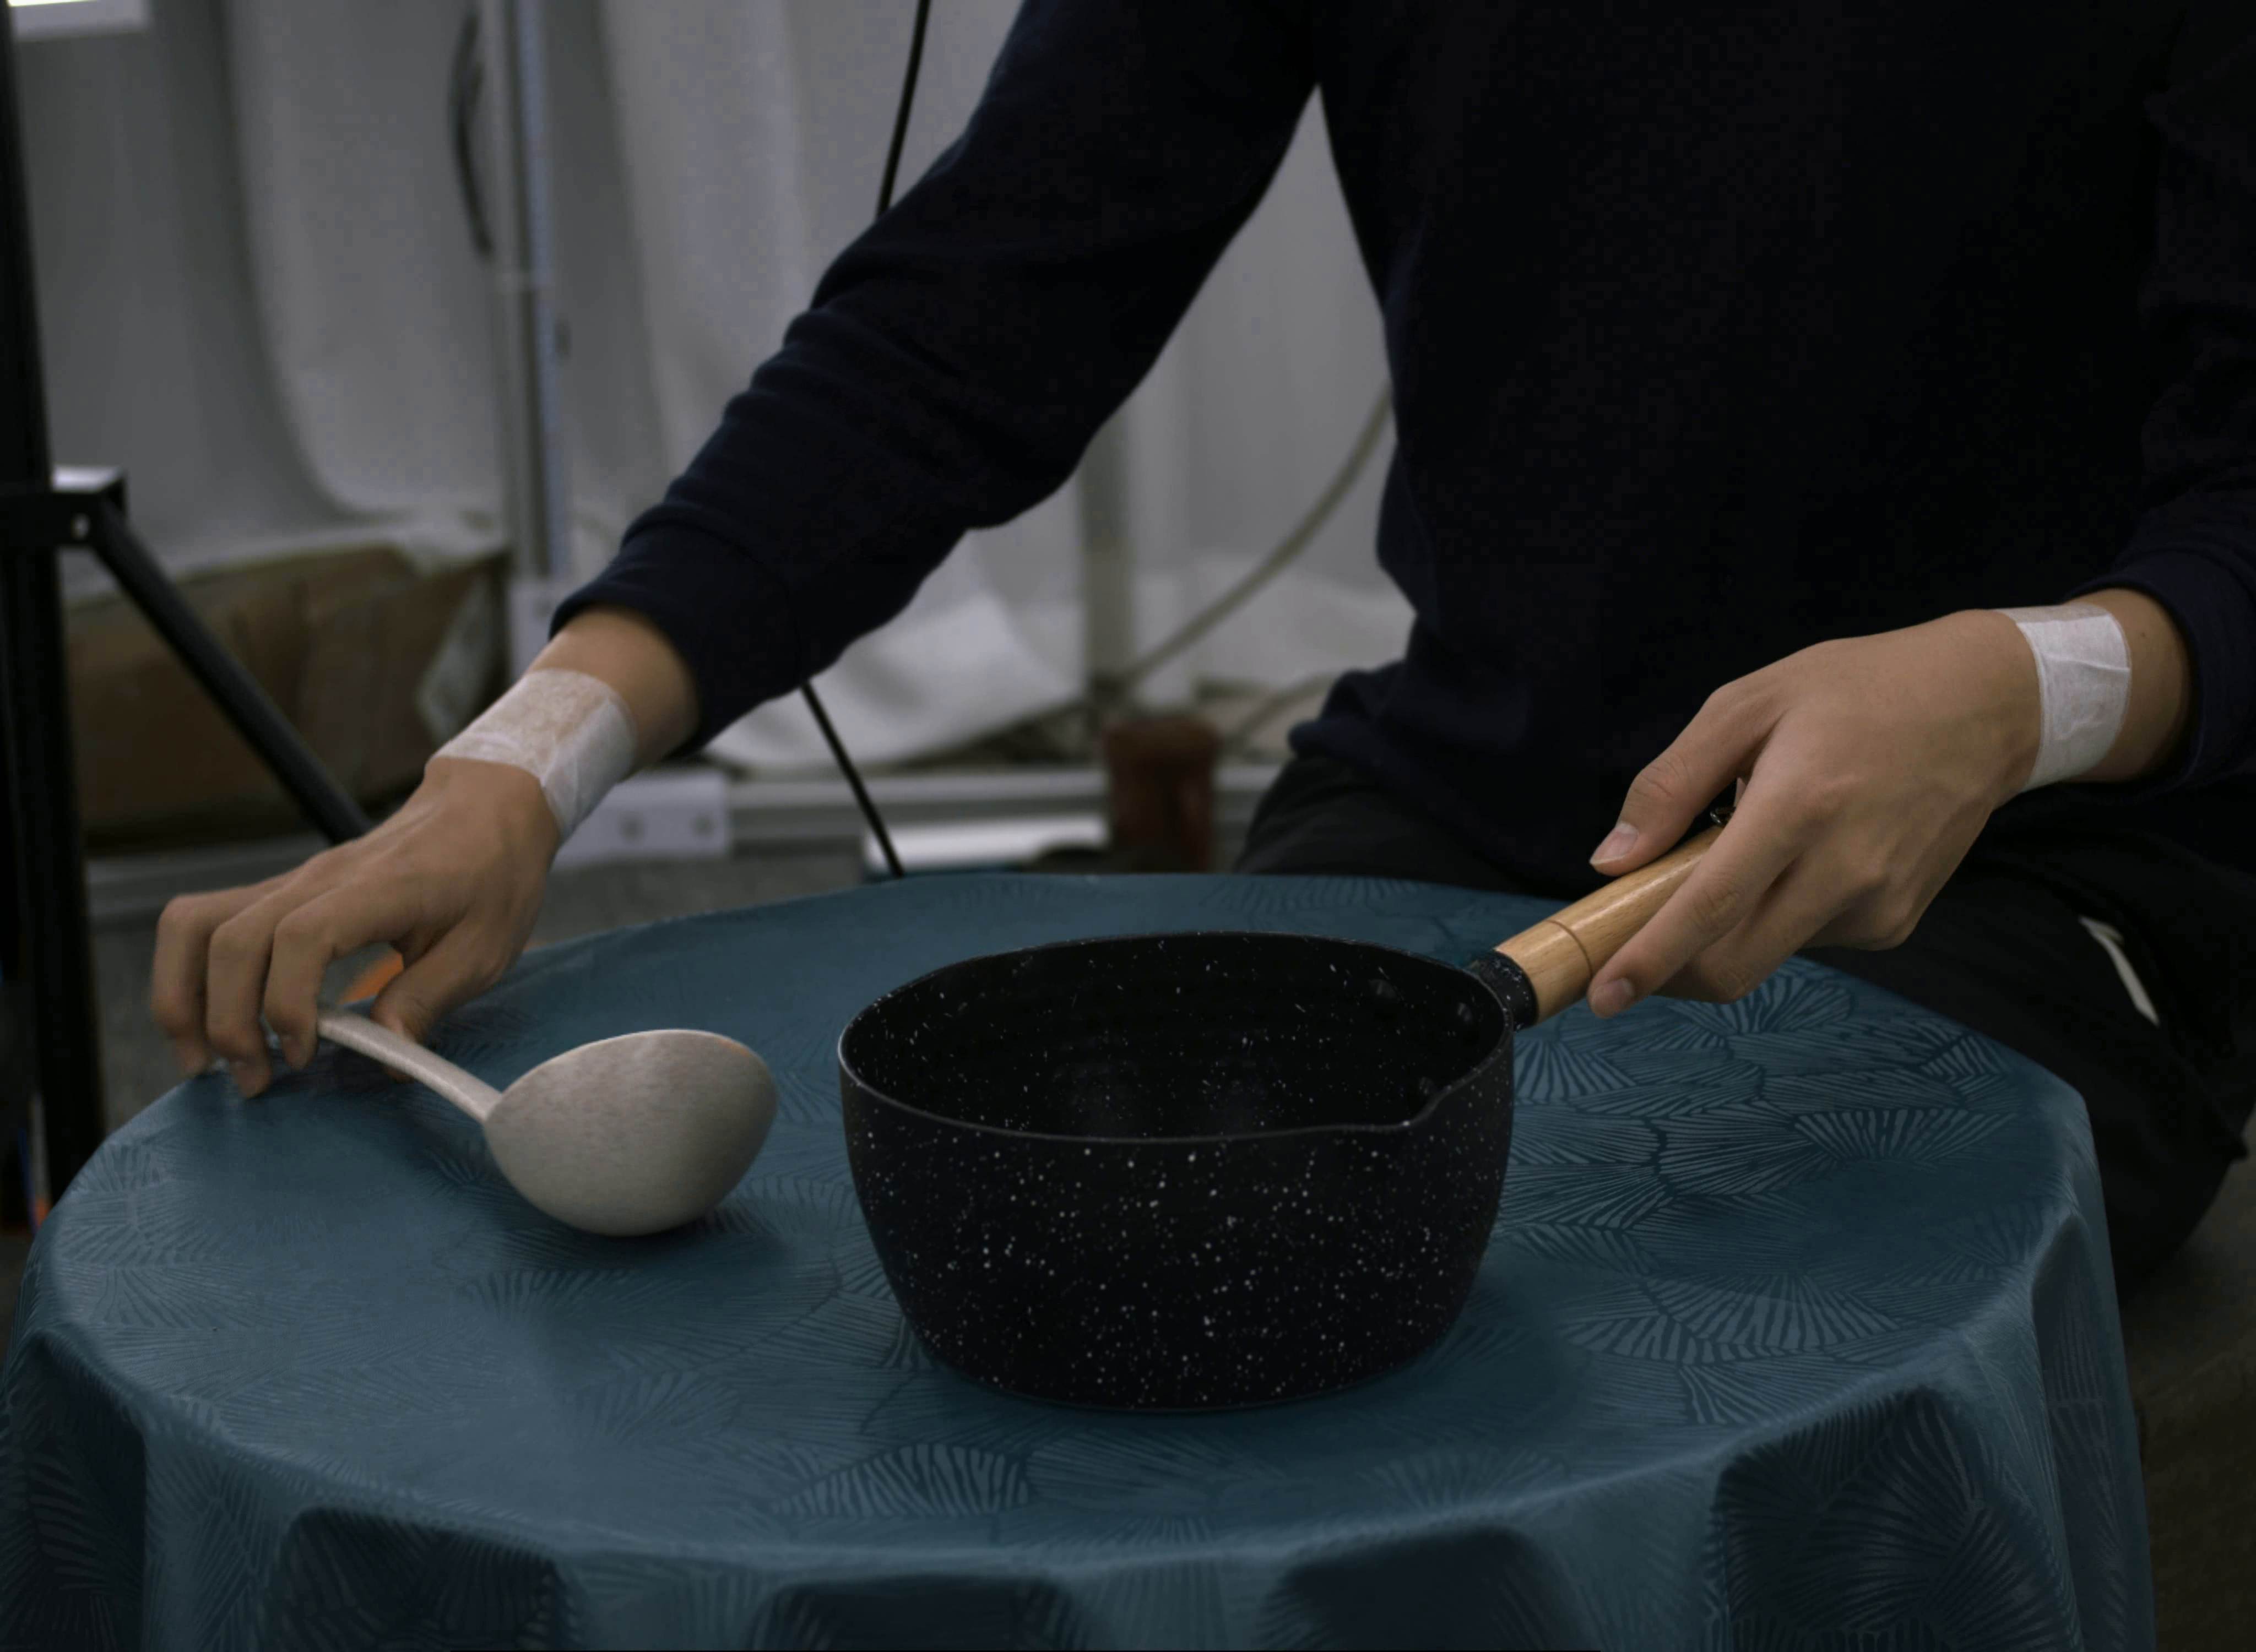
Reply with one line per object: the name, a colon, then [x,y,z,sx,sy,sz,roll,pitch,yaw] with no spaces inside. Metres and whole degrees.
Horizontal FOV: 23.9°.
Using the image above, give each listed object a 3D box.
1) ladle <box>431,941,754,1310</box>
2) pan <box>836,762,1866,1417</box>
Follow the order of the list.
ladle: [-0.177,0.098,1.642,0.088,0.069,0.276,27,-18,-6]
pan: [0.077,0.068,1.487,0.335,0.108,0.212,-15,19,-34]
